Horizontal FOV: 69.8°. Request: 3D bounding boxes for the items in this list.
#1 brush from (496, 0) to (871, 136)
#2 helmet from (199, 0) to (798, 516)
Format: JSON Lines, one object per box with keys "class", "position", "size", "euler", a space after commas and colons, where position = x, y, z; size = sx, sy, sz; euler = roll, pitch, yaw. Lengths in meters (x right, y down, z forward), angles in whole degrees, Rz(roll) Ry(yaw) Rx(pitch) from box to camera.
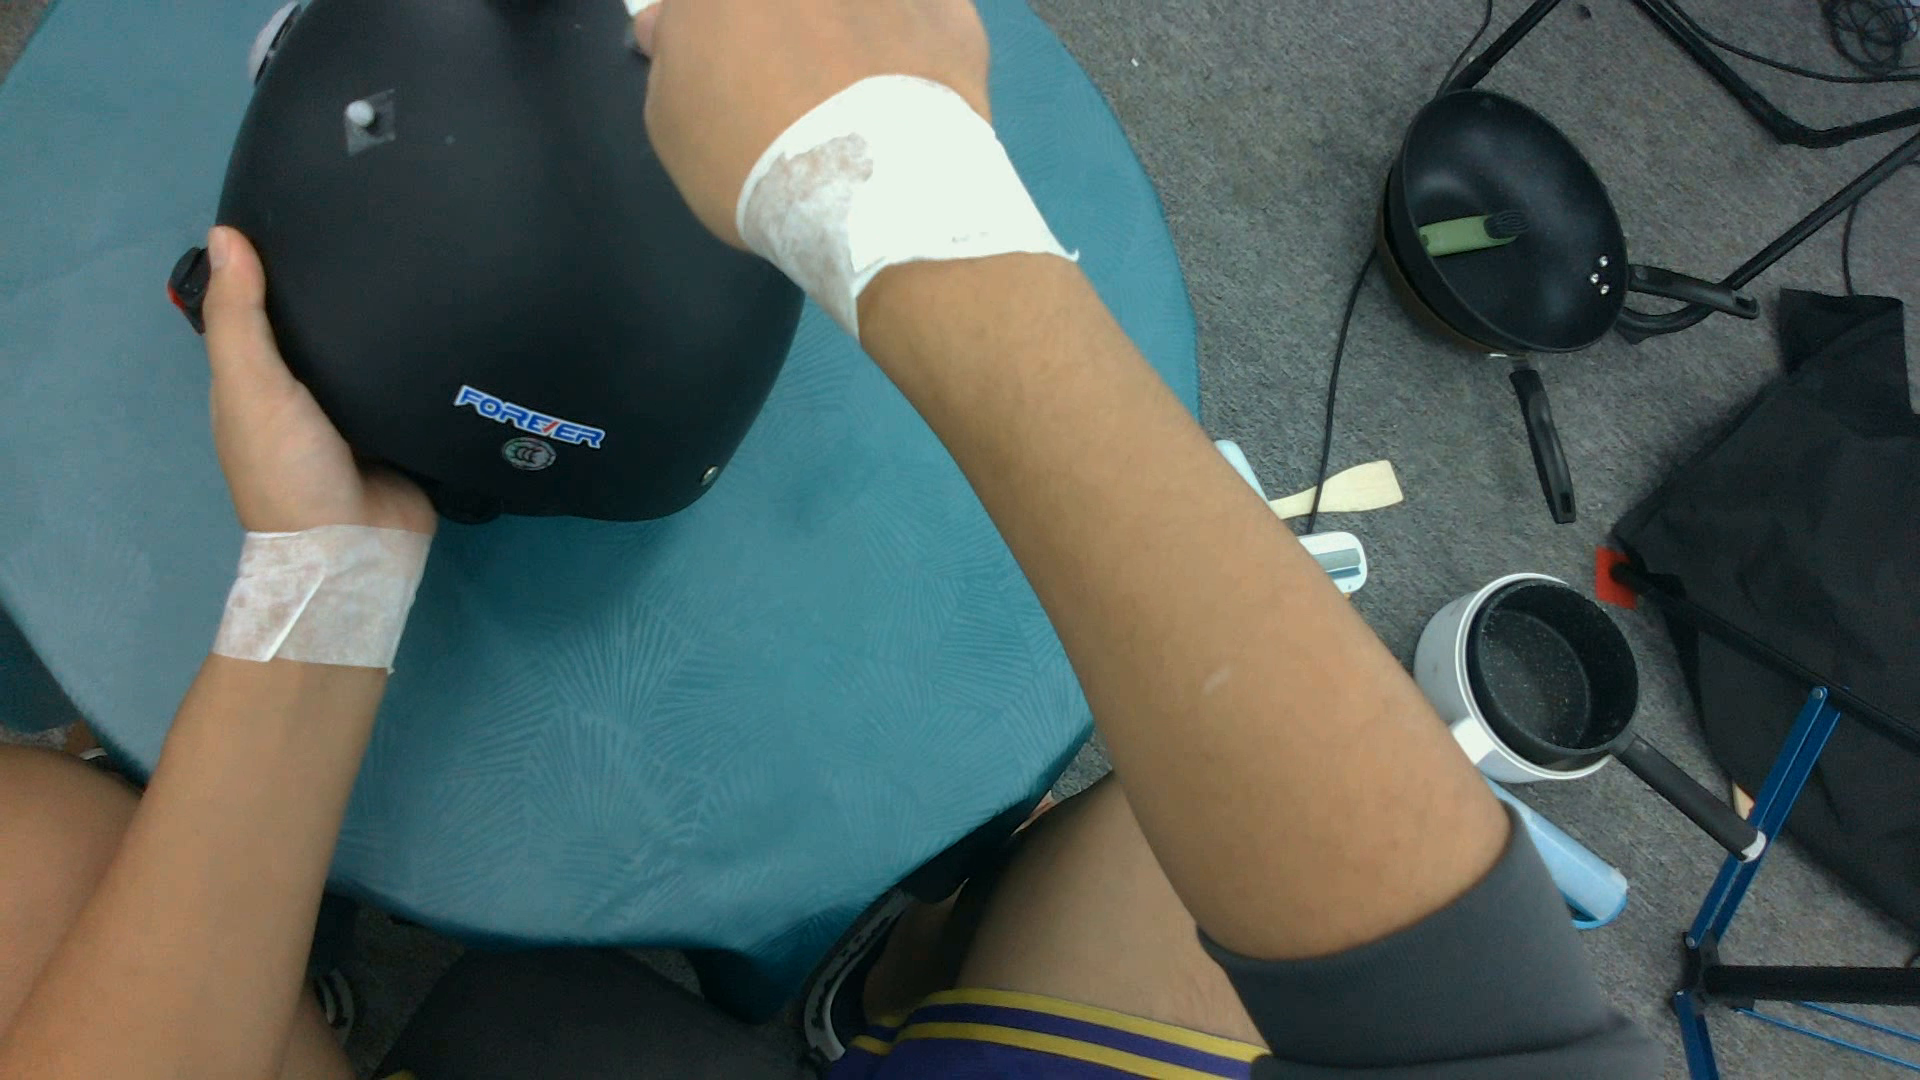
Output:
{"class": "brush", "position": [-0.109, -0.167, 0.428], "size": [0.034, 0.050, 0.244], "euler": [-25, 55, -34]}
{"class": "helmet", "position": [-0.166, -0.152, 0.556], "size": [0.230, 0.166, 0.274], "euler": [22, 45, -30]}
